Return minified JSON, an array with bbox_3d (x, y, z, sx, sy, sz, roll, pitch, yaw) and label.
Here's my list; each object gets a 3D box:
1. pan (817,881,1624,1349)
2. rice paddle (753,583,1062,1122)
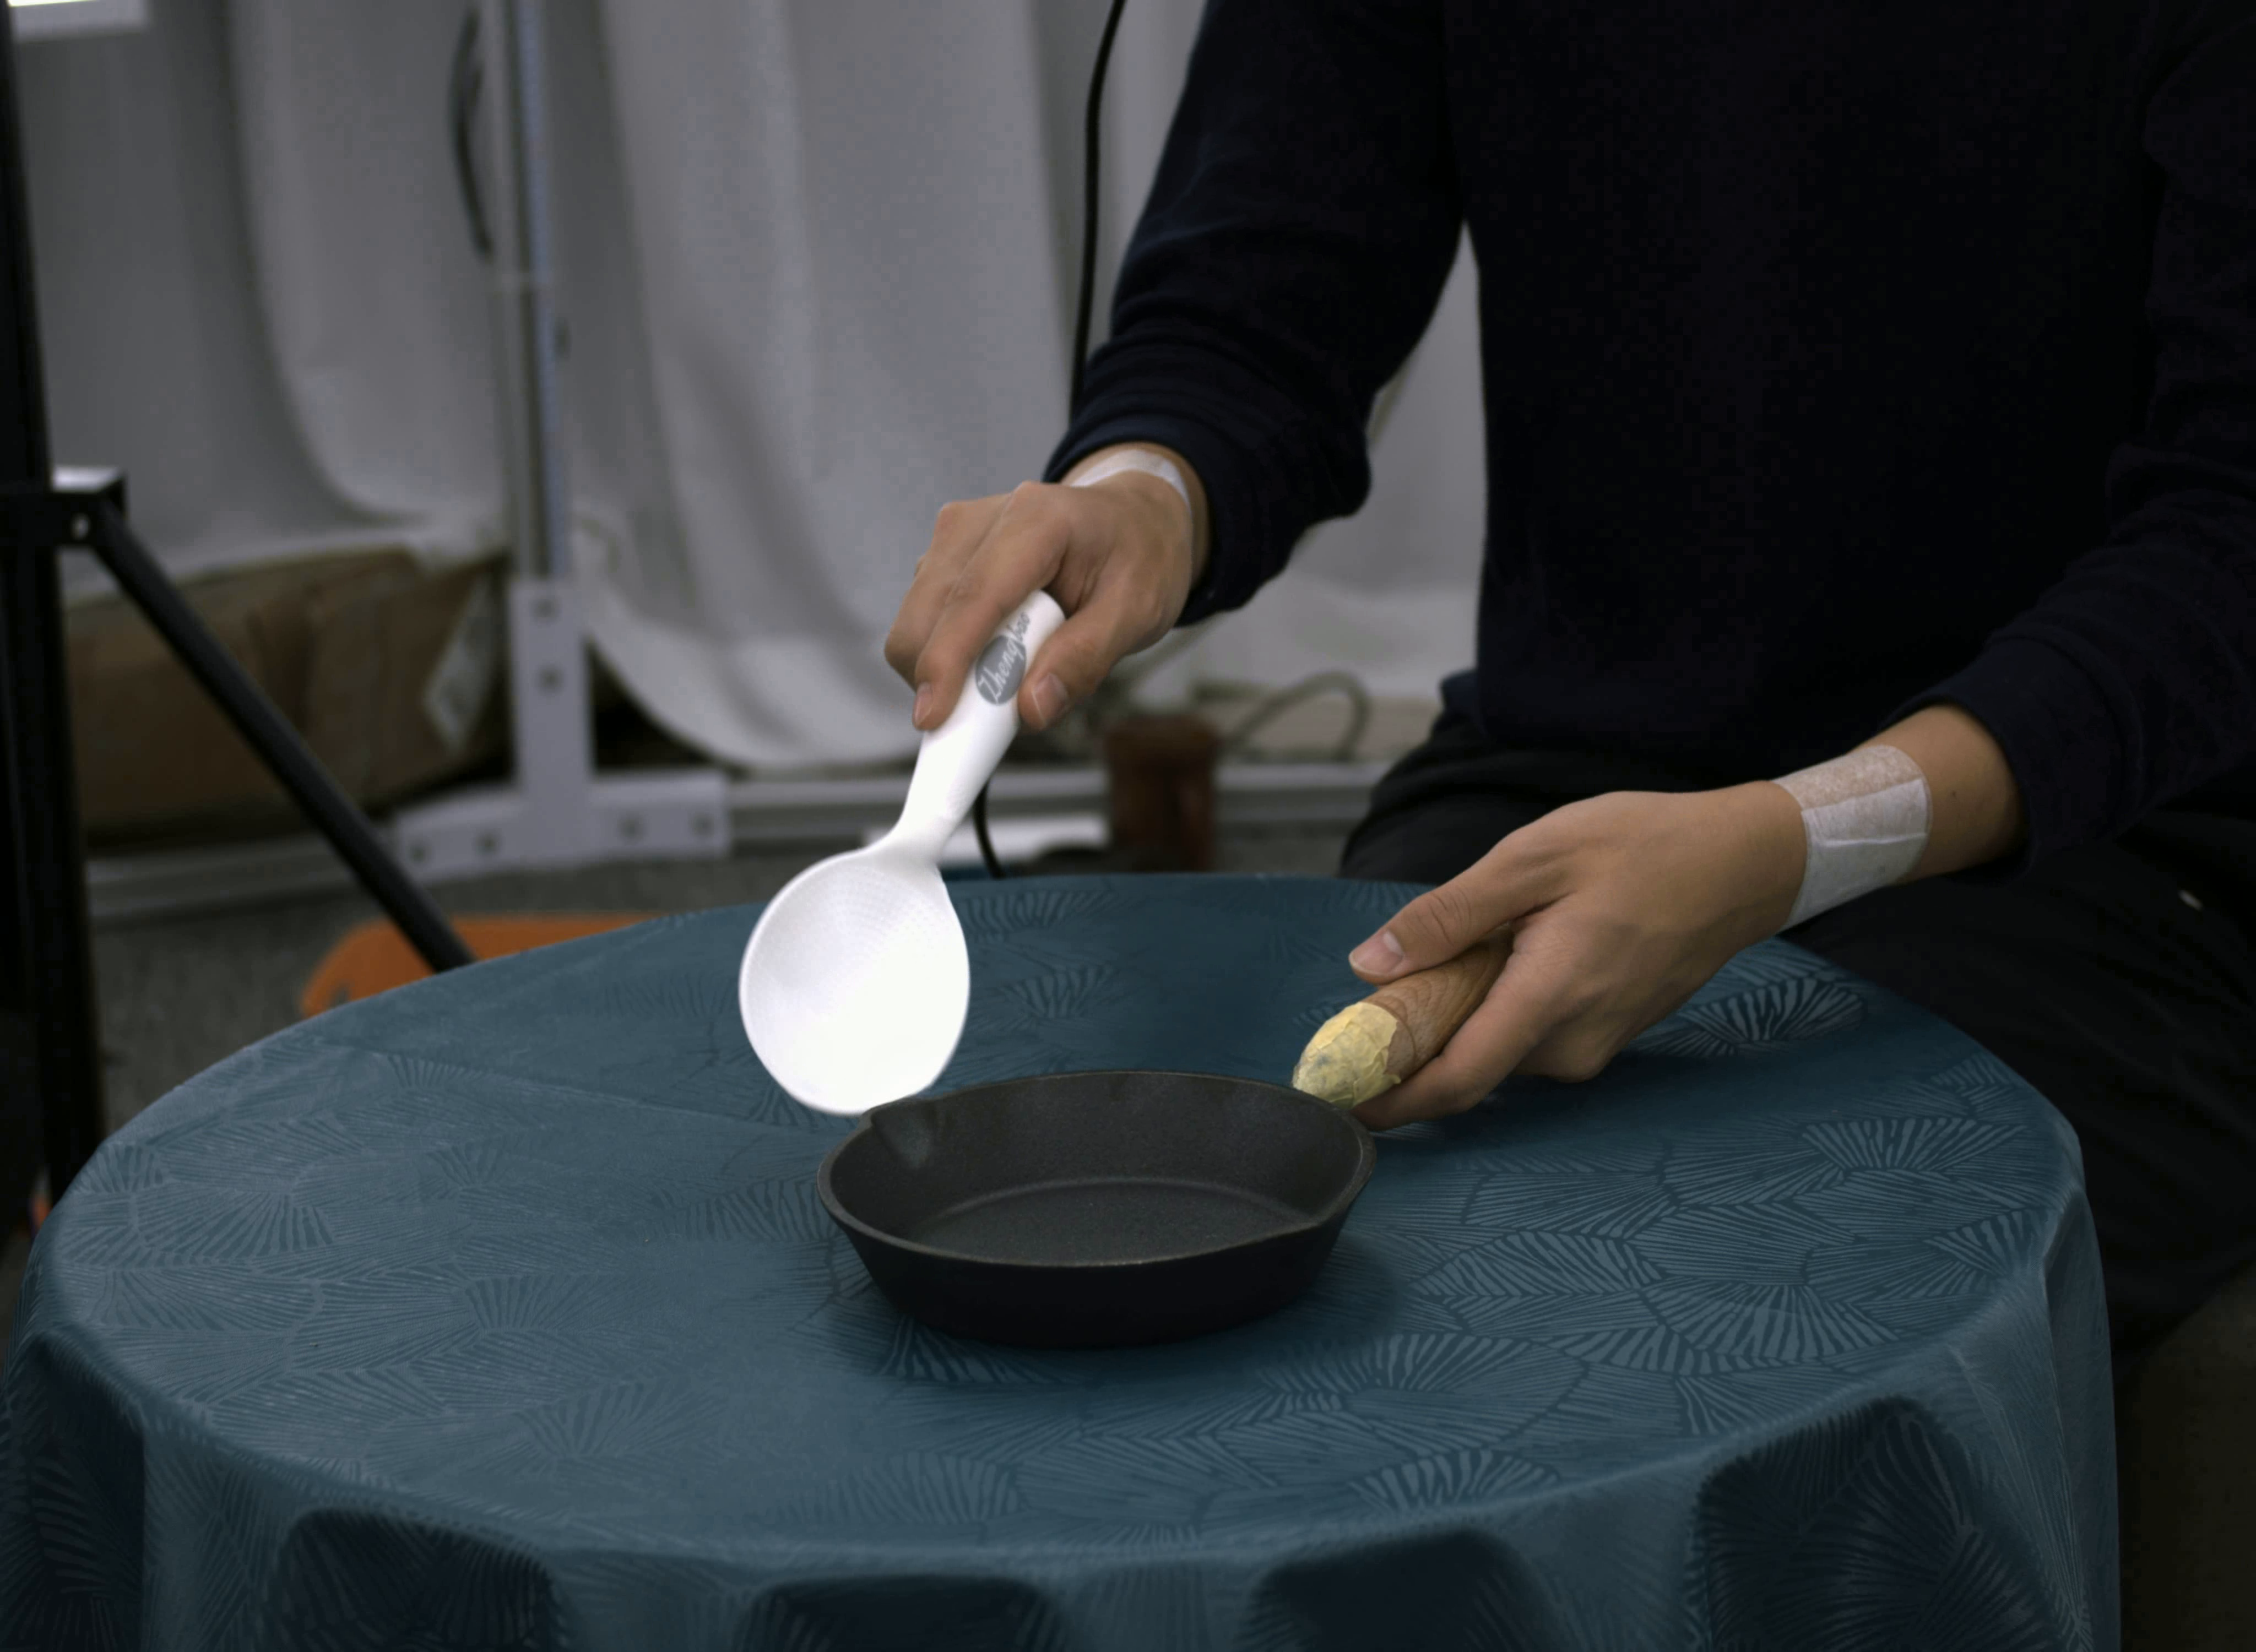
[{"bbox_3d":[0.047,0.080,1.546,0.173,0.049,0.317,12,24,42],"label":"pan"},{"bbox_3d":[-0.061,0.008,1.602,0.068,0.029,0.205,26,49,-7],"label":"rice paddle"}]
